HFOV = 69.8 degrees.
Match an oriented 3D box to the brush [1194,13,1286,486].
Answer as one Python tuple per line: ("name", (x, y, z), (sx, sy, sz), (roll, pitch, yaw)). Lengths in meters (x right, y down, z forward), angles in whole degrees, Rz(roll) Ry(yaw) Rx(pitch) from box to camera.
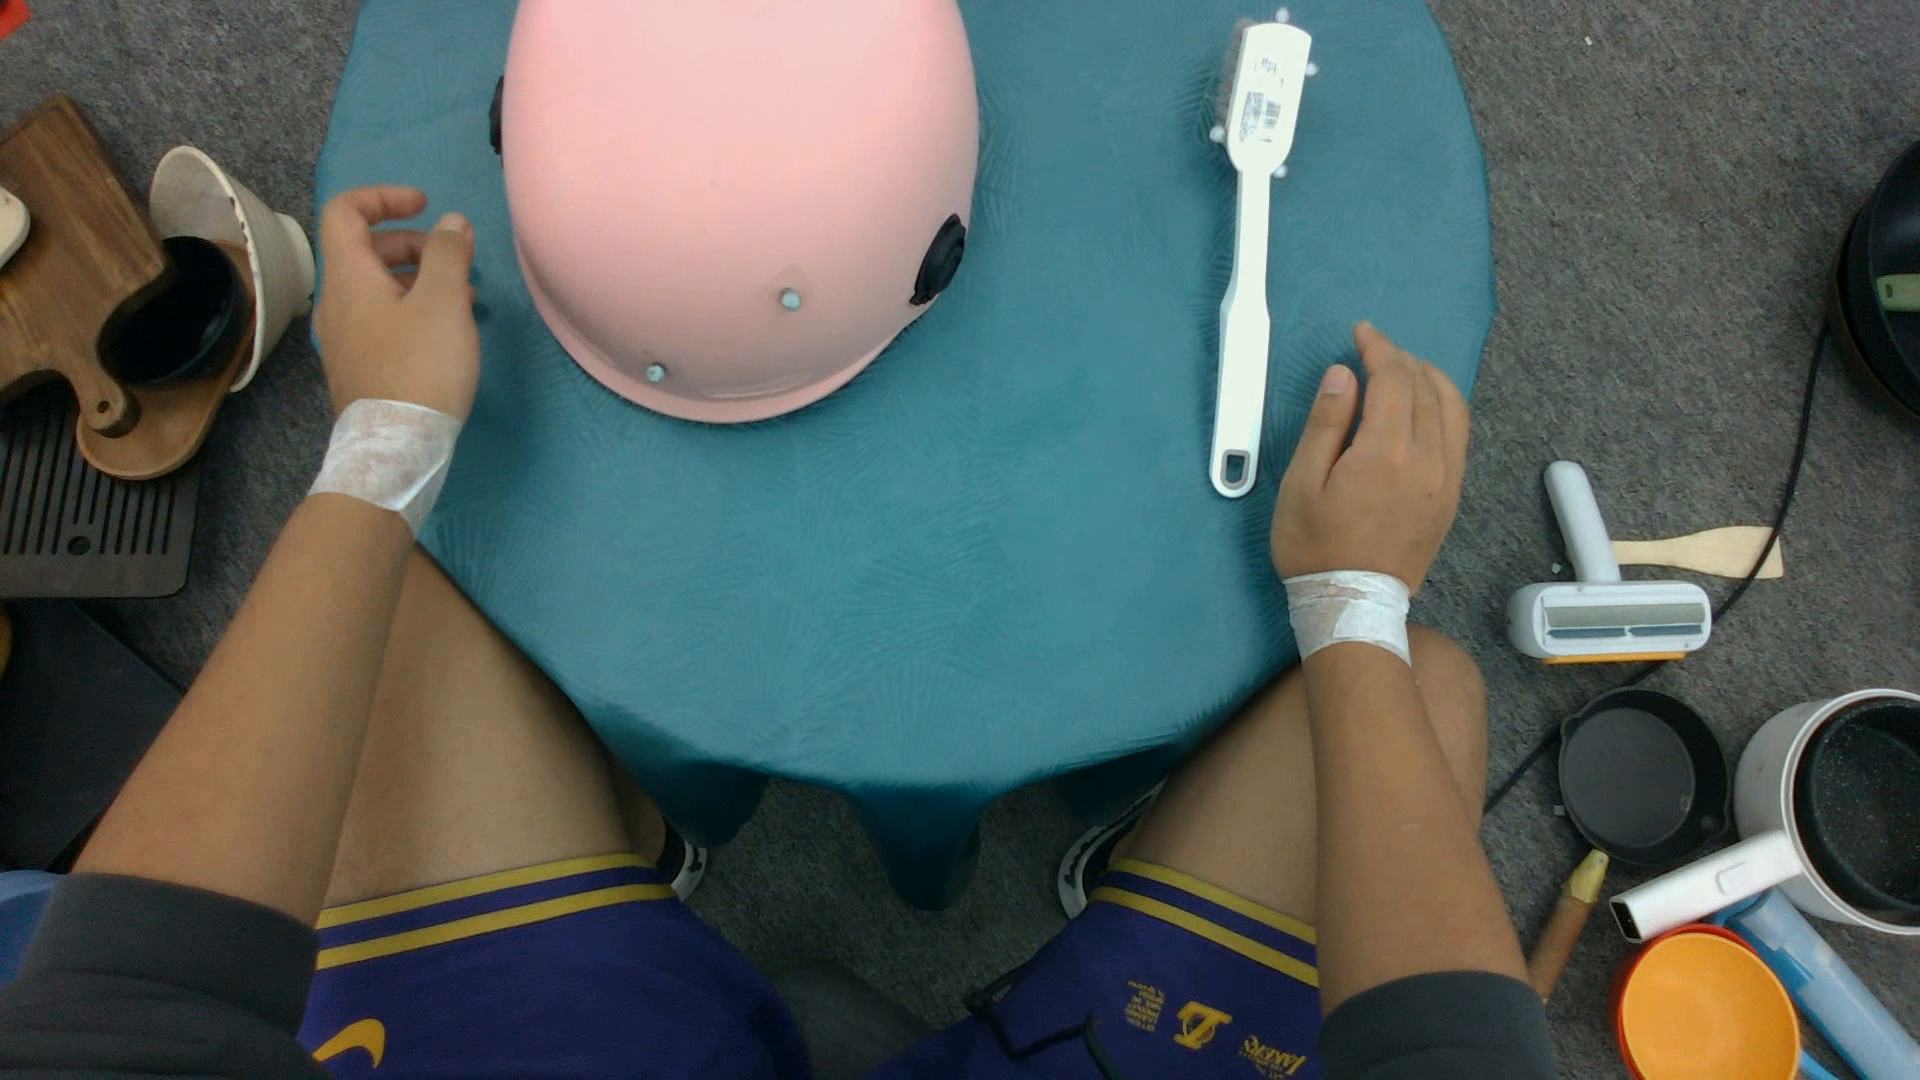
("brush", (0.136, -0.149, 0.706), (0.034, 0.050, 0.243), (4, 92, -8))

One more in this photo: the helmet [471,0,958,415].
("helmet", (-0.111, -0.199, 0.626), (0.234, 0.158, 0.266), (17, 82, -3))
